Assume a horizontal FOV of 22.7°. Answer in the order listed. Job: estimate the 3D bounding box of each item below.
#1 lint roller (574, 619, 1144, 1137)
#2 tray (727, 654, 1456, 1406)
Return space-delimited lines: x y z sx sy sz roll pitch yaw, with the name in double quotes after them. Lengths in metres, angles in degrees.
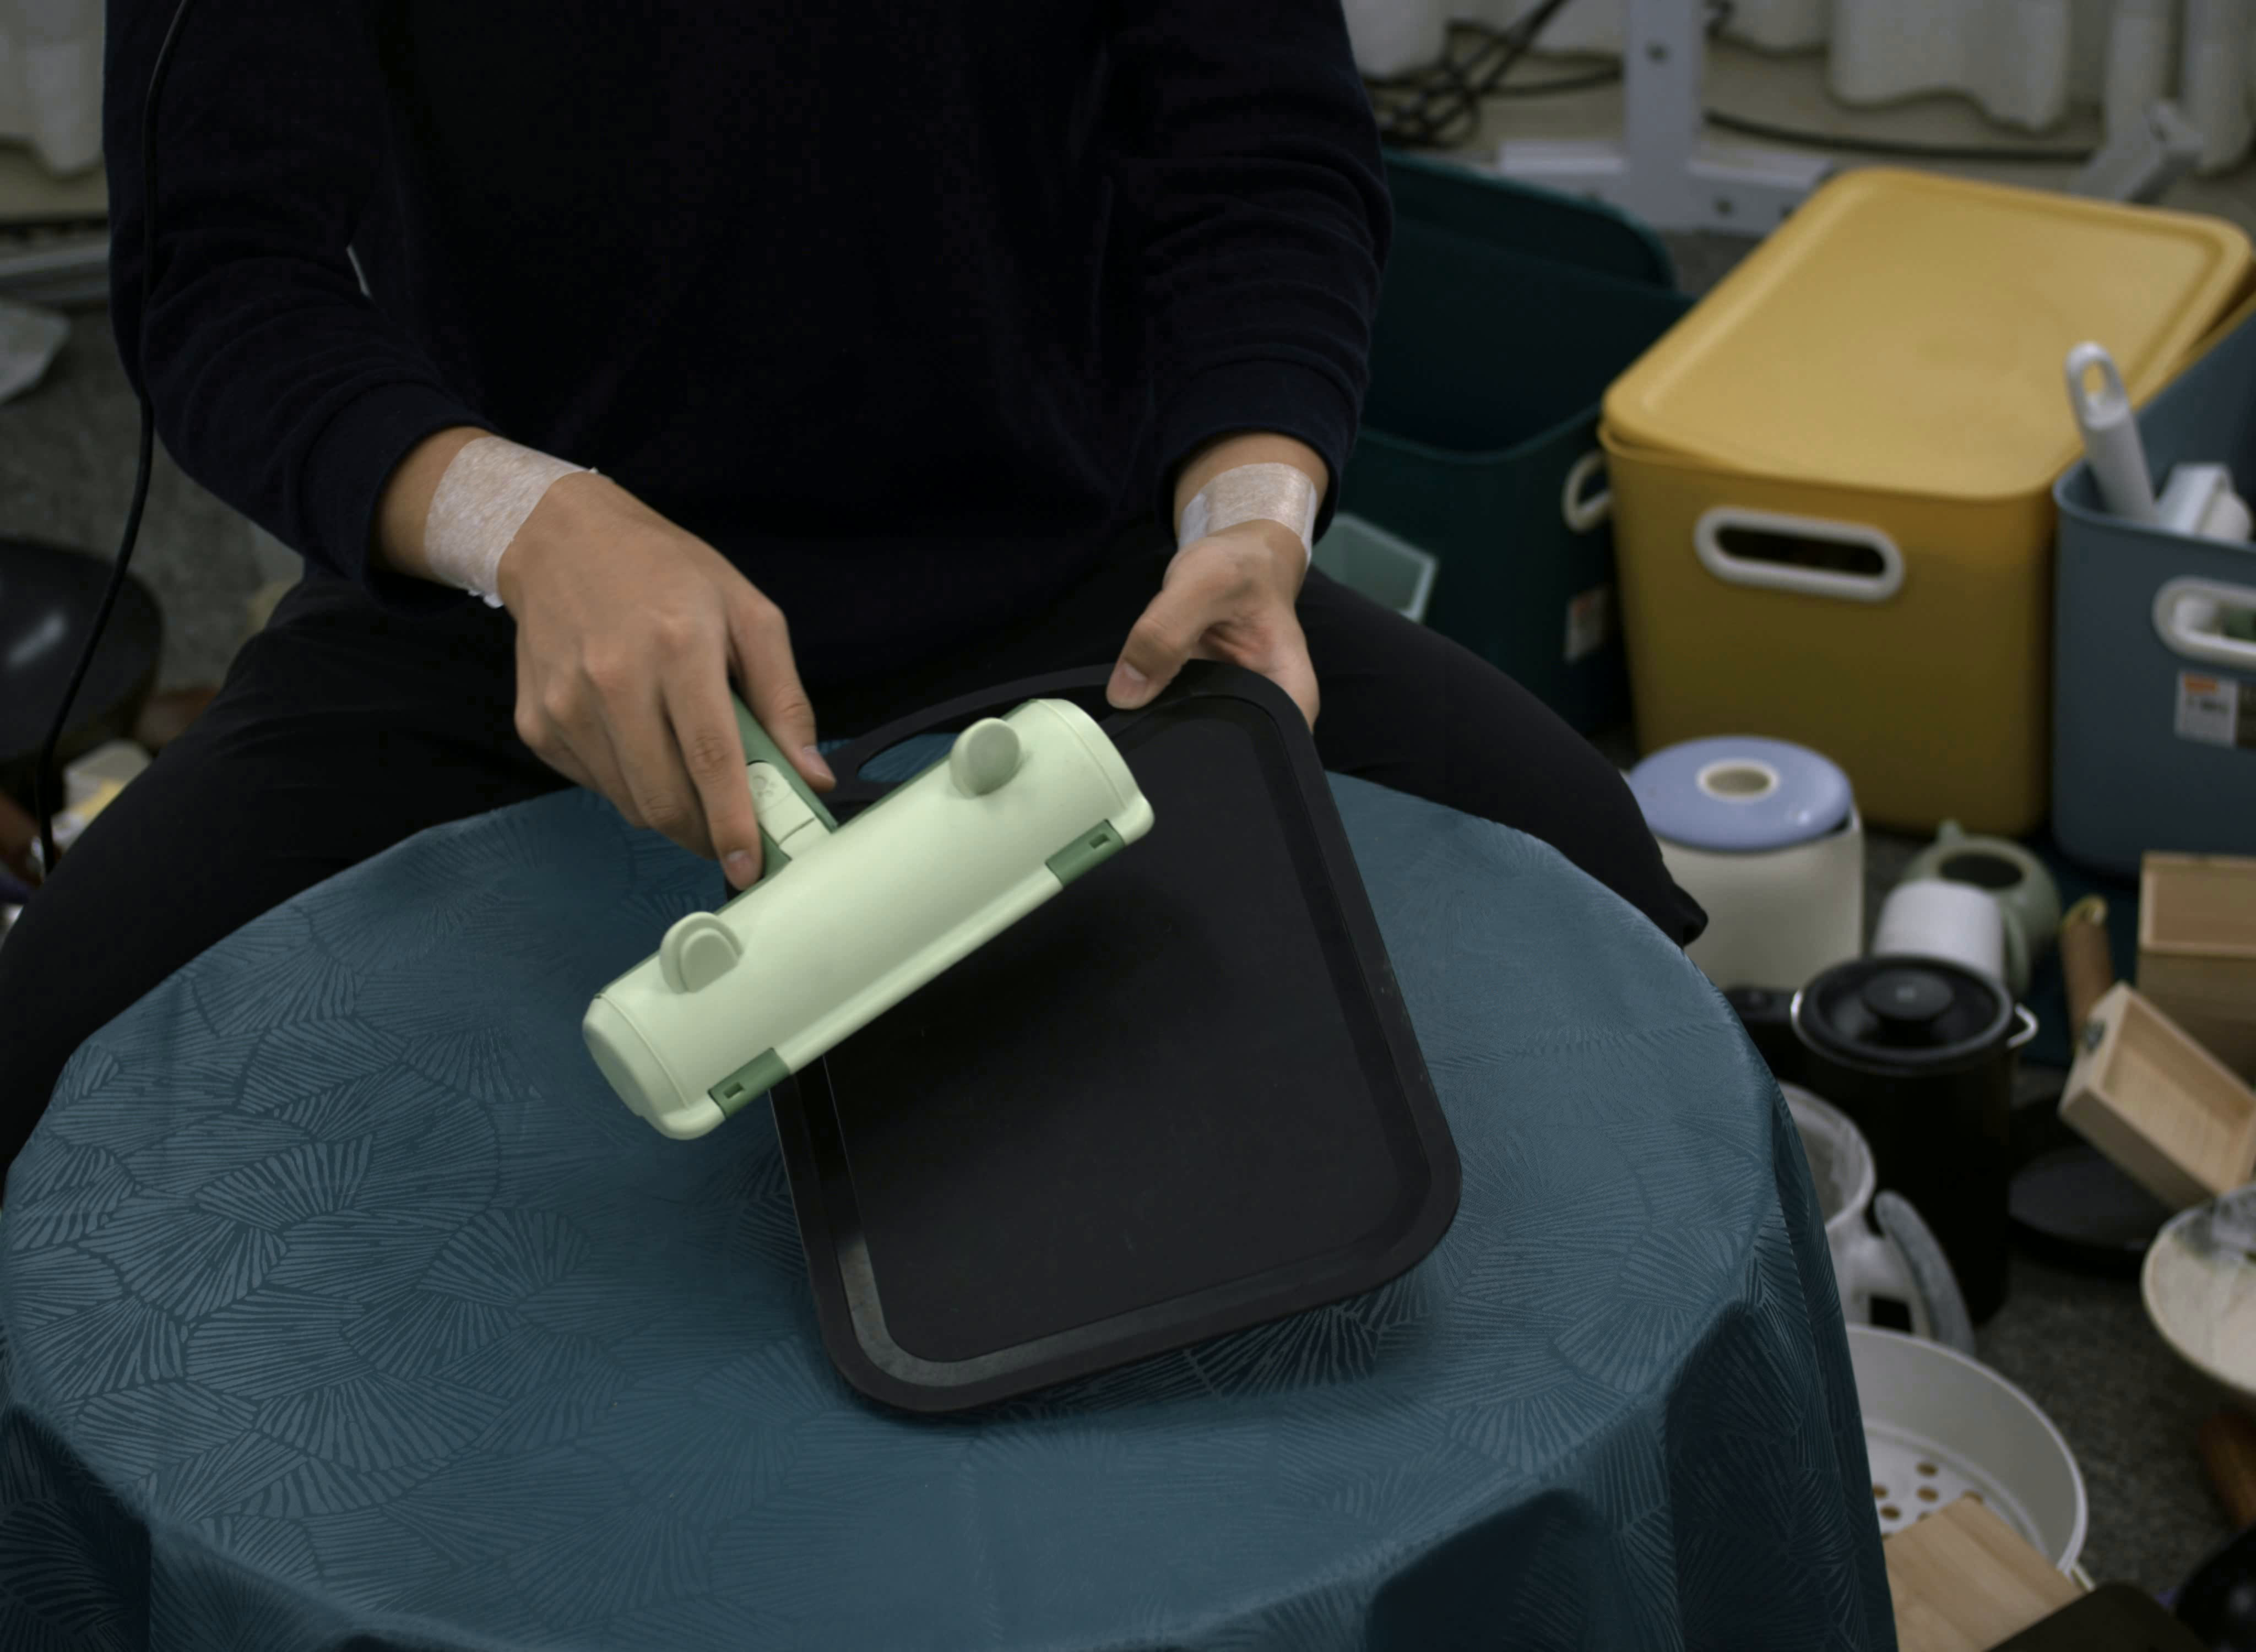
-0.123 -0.015 1.850 0.200 0.081 0.184 -35 68 -18 "lint roller"
-0.020 0.056 1.860 0.210 0.009 0.331 -15 43 -1 "tray"
